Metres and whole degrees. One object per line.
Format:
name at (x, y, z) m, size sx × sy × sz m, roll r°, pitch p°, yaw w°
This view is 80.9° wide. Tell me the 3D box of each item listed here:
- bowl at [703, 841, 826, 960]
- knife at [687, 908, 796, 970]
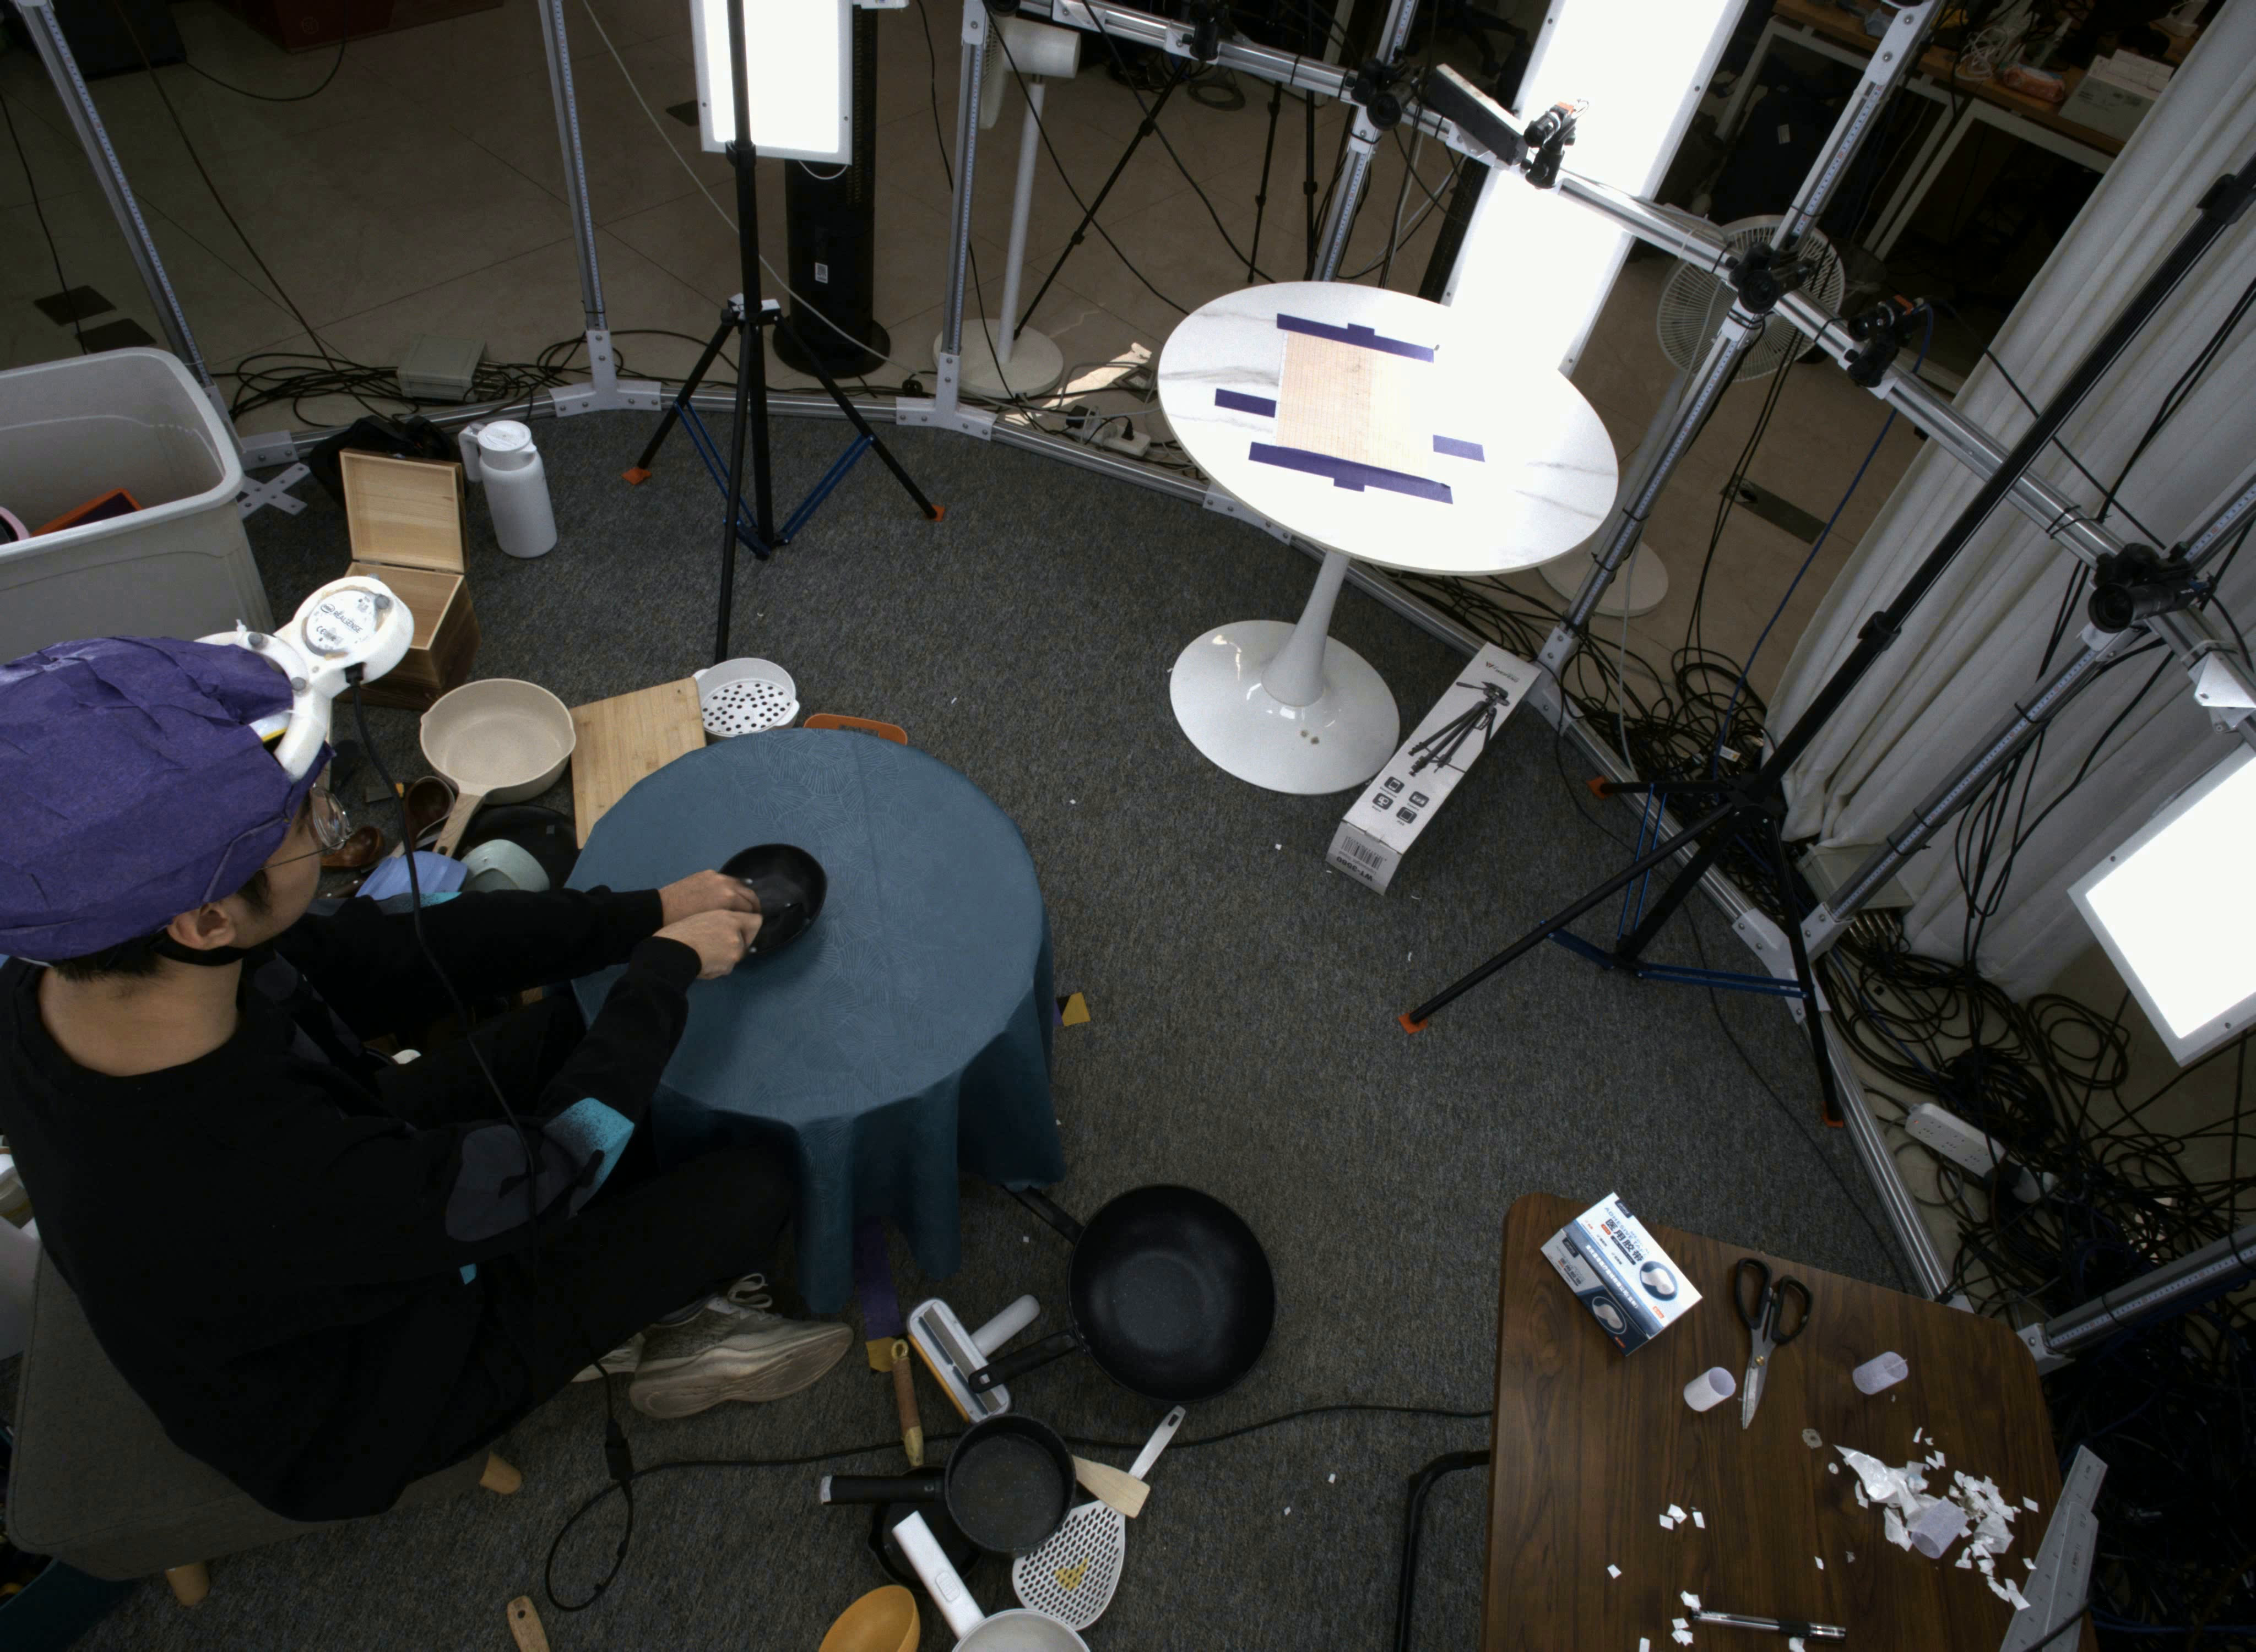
bowl at (-0.444, 0.100, 1.591) m, size 0.136 × 0.068 × 0.169 m, roll 22°, pitch 53°, yaw 3°
knife at (-0.449, 0.124, 1.523) m, size 0.017 × 0.026 × 0.226 m, roll 43°, pitch 22°, yaw 4°
